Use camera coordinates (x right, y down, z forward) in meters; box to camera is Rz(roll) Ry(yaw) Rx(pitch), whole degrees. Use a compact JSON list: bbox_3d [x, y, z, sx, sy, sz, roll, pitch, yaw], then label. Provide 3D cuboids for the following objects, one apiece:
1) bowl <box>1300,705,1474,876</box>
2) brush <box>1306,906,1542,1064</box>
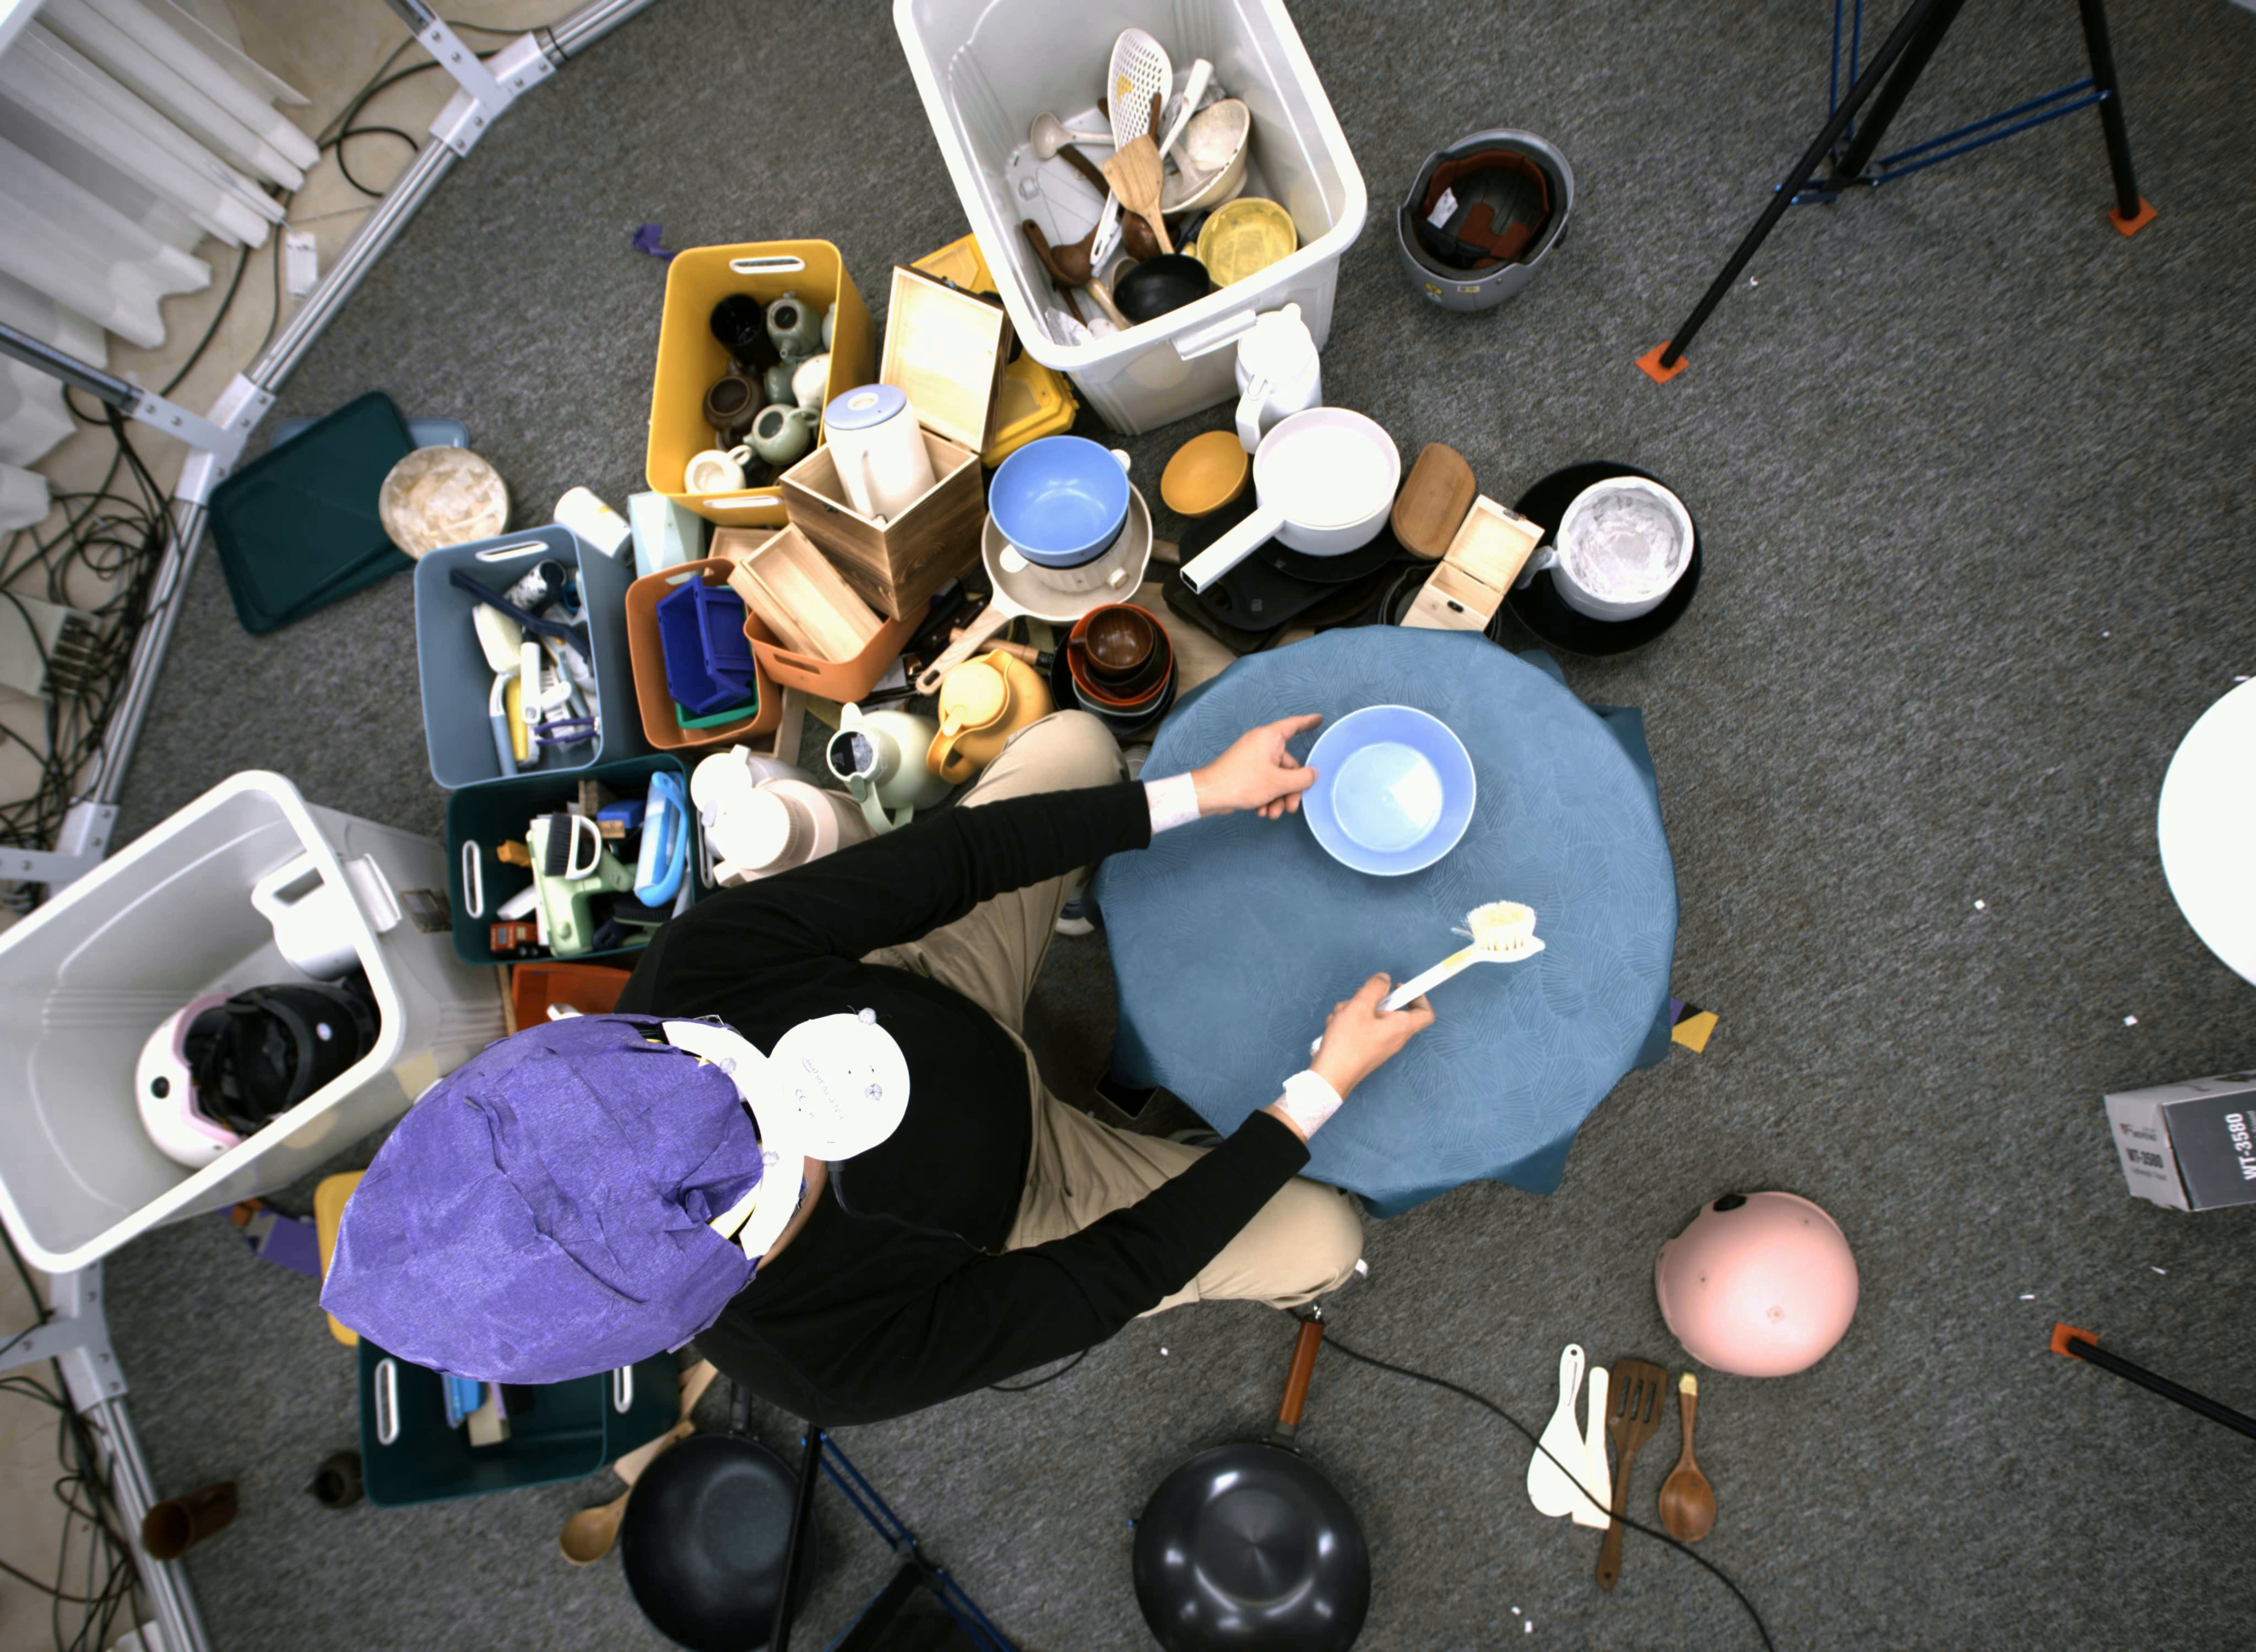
[{"bbox_3d":[0.268,-0.034,1.430,0.177,0.070,0.175,-1,85,11],"label":"bowl"},{"bbox_3d":[0.281,0.152,1.359,0.269,0.067,0.056,-29,99,14],"label":"brush"}]
